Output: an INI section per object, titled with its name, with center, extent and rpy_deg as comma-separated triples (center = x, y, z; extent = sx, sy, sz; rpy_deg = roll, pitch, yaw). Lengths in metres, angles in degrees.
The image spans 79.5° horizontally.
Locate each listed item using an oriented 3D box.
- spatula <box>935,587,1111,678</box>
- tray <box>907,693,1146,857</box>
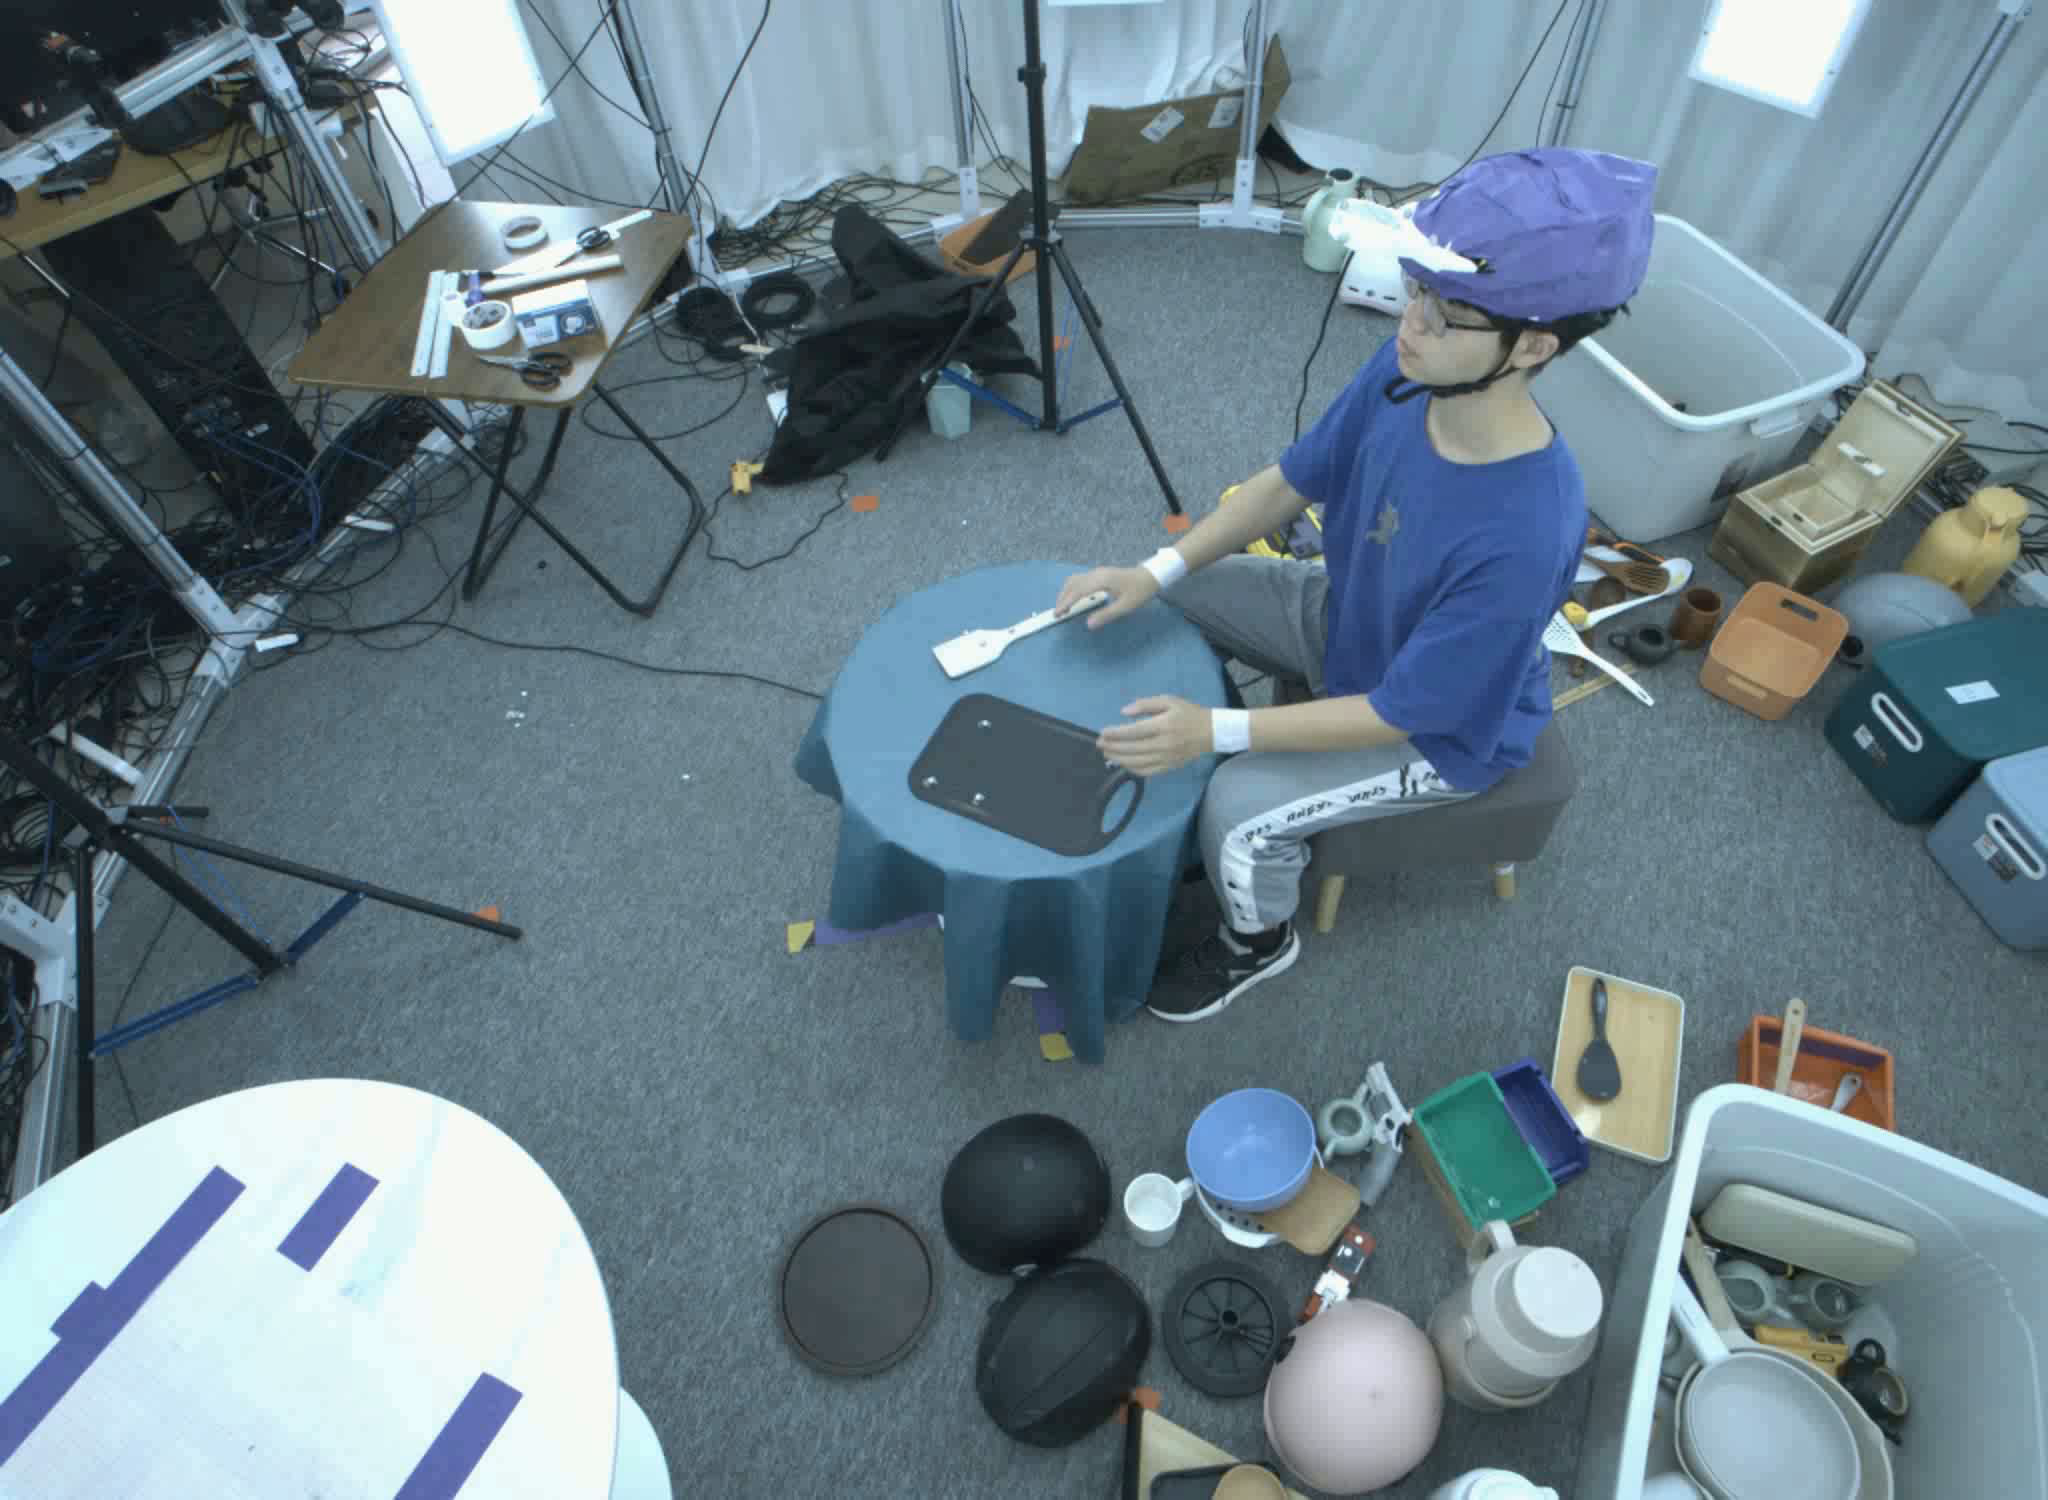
[spatula]
center = 0.005, -0.191, 1.909
extent = 0.295, 0.011, 0.071
rpy_deg = -25, 56, -15
[tray]
center = 0.009, 0.032, 1.751
extent = 0.321, 0.010, 0.211
rpy_deg = 21, 58, 16
